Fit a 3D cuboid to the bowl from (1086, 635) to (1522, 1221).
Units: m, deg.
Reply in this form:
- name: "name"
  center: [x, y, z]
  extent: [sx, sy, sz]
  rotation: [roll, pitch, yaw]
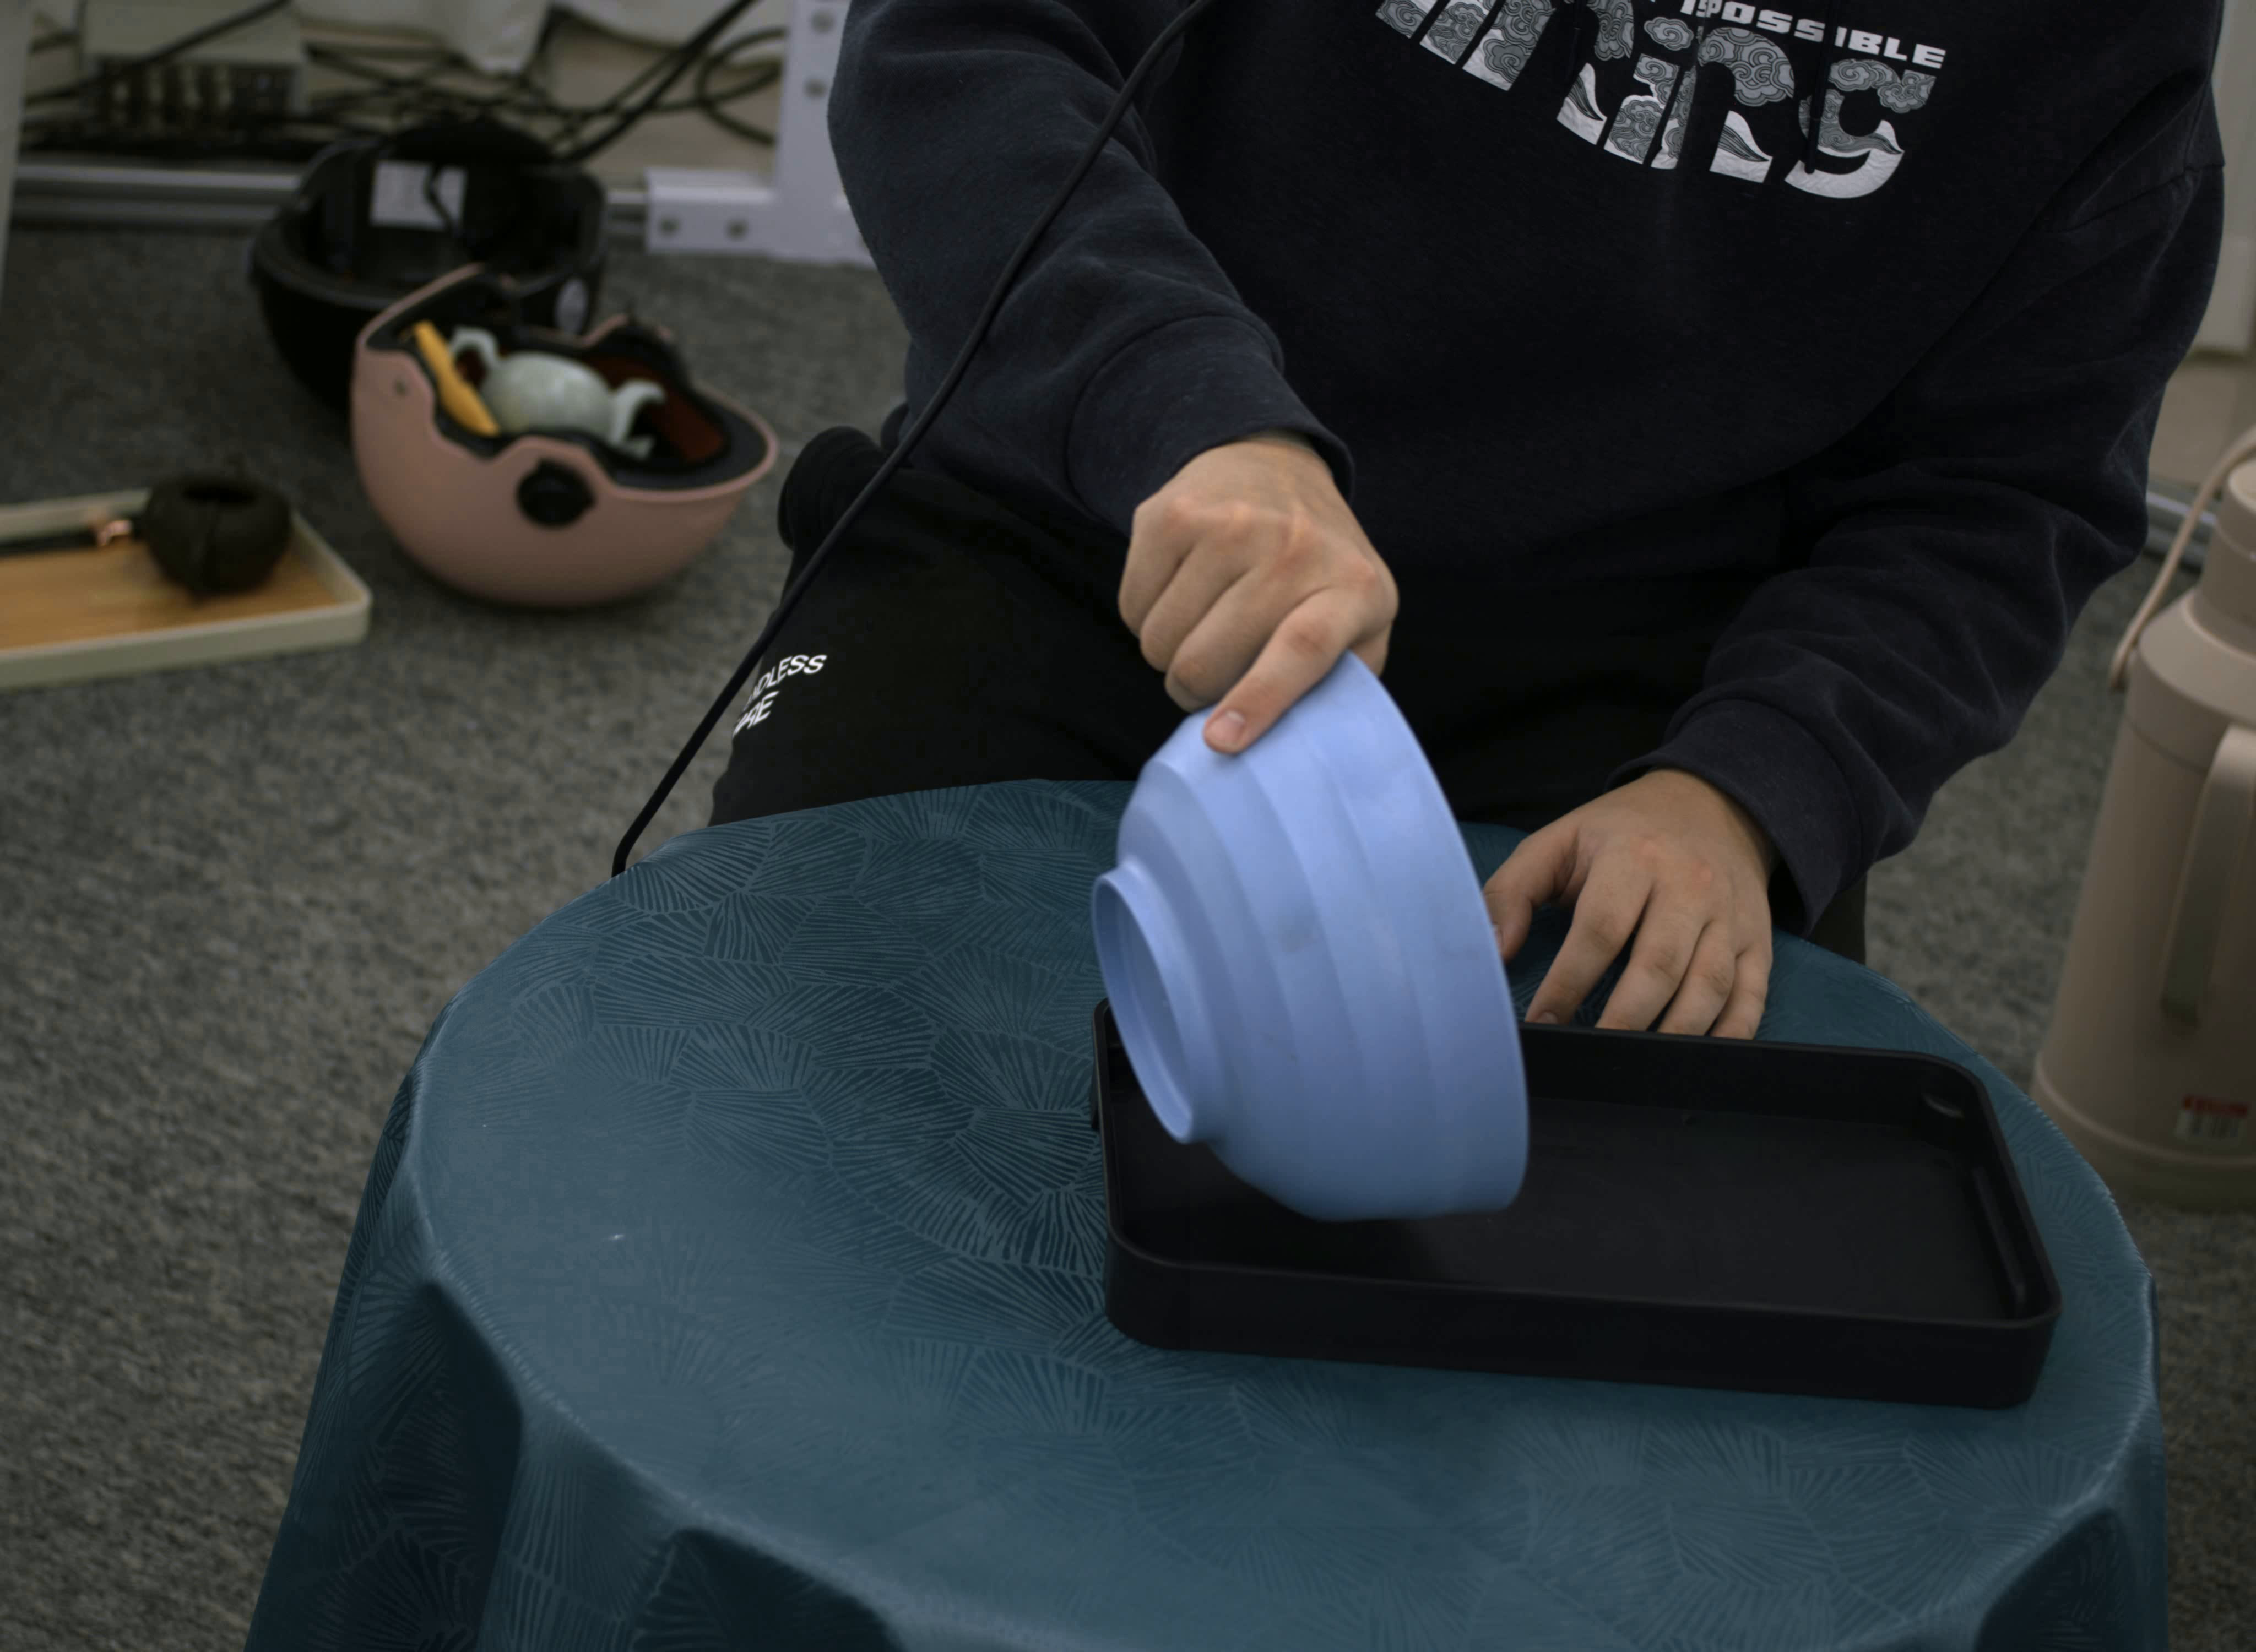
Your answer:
- name: "bowl"
  center: [0.046, 0.045, 1.728]
  extent: [0.095, 0.195, 0.198]
  rotation: [-17, 32, -11]

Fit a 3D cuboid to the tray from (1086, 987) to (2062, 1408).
- name: "tray"
  center: [0.144, 0.123, 1.799]
  extent: [0.317, 0.037, 0.185]
  rotation: [5, 27, -5]
